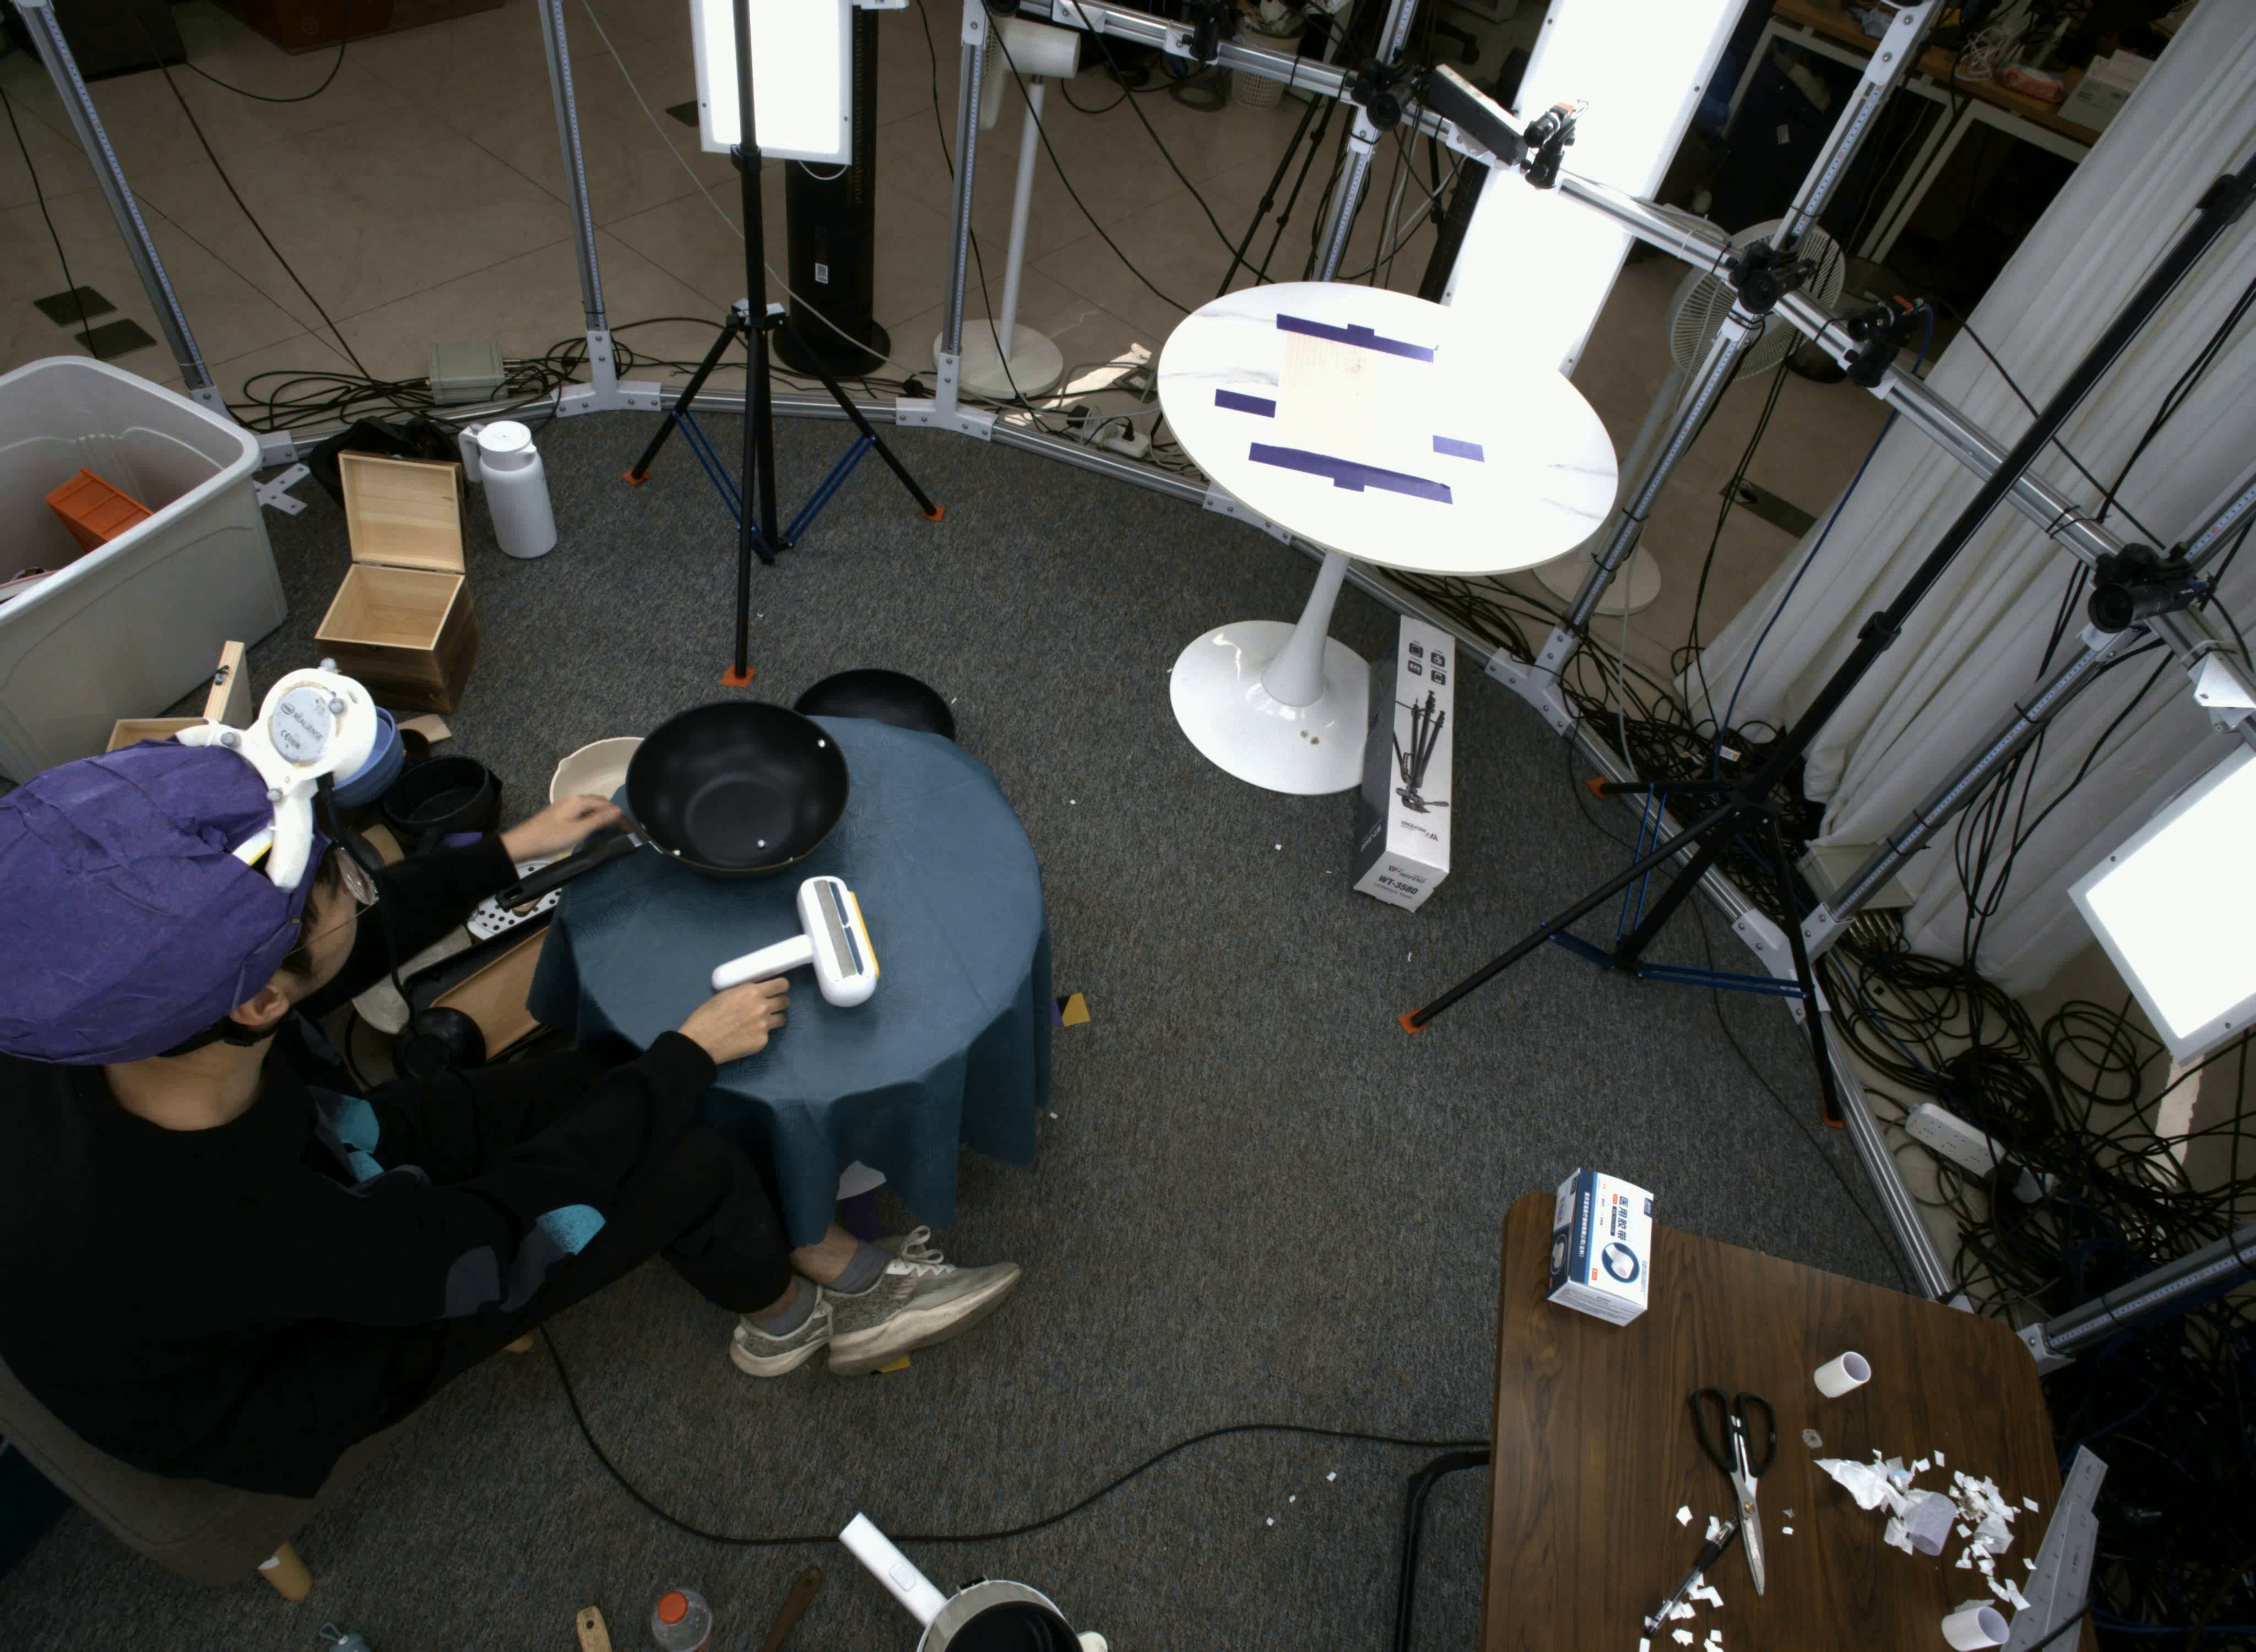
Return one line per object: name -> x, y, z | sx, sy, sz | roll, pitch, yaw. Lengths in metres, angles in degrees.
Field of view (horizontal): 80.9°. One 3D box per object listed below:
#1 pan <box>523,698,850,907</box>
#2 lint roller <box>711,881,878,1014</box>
pan -> -0.569, 0.006, 1.633 | 0.465, 0.088, 0.281 | -32, 68, -31
lint roller -> -0.411, 0.157, 1.574 | 0.193, 0.076, 0.187 | -9, 51, -18
